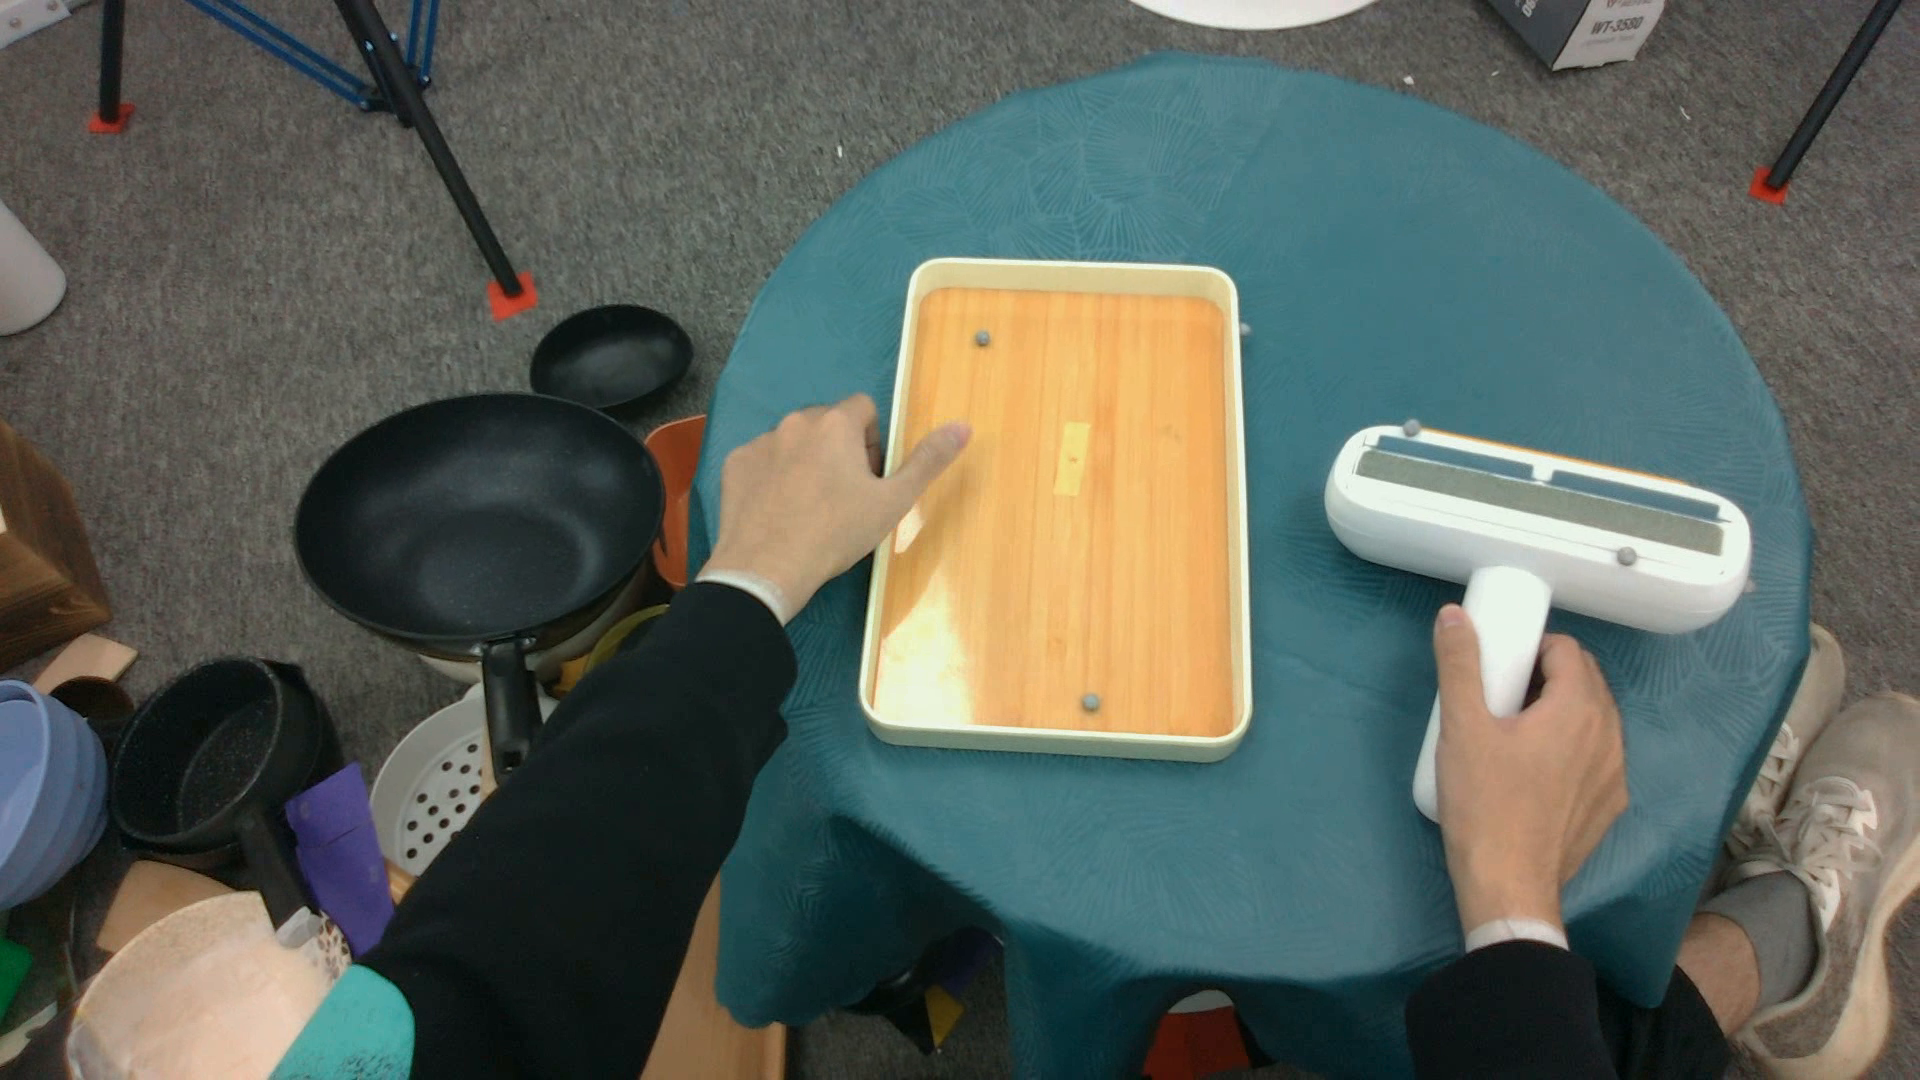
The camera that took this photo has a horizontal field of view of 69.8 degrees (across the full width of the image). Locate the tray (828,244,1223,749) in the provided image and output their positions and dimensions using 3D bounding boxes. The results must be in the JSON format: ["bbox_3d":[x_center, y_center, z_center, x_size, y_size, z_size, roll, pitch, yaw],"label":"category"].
[{"bbox_3d":[0.040,-0.036,0.738,0.191,0.027,0.301,3,59,3],"label":"tray"}]

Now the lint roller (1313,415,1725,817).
[{"bbox_3d":[0.247,0.040,0.665,0.193,0.074,0.193,21,65,18],"label":"lint roller"}]
